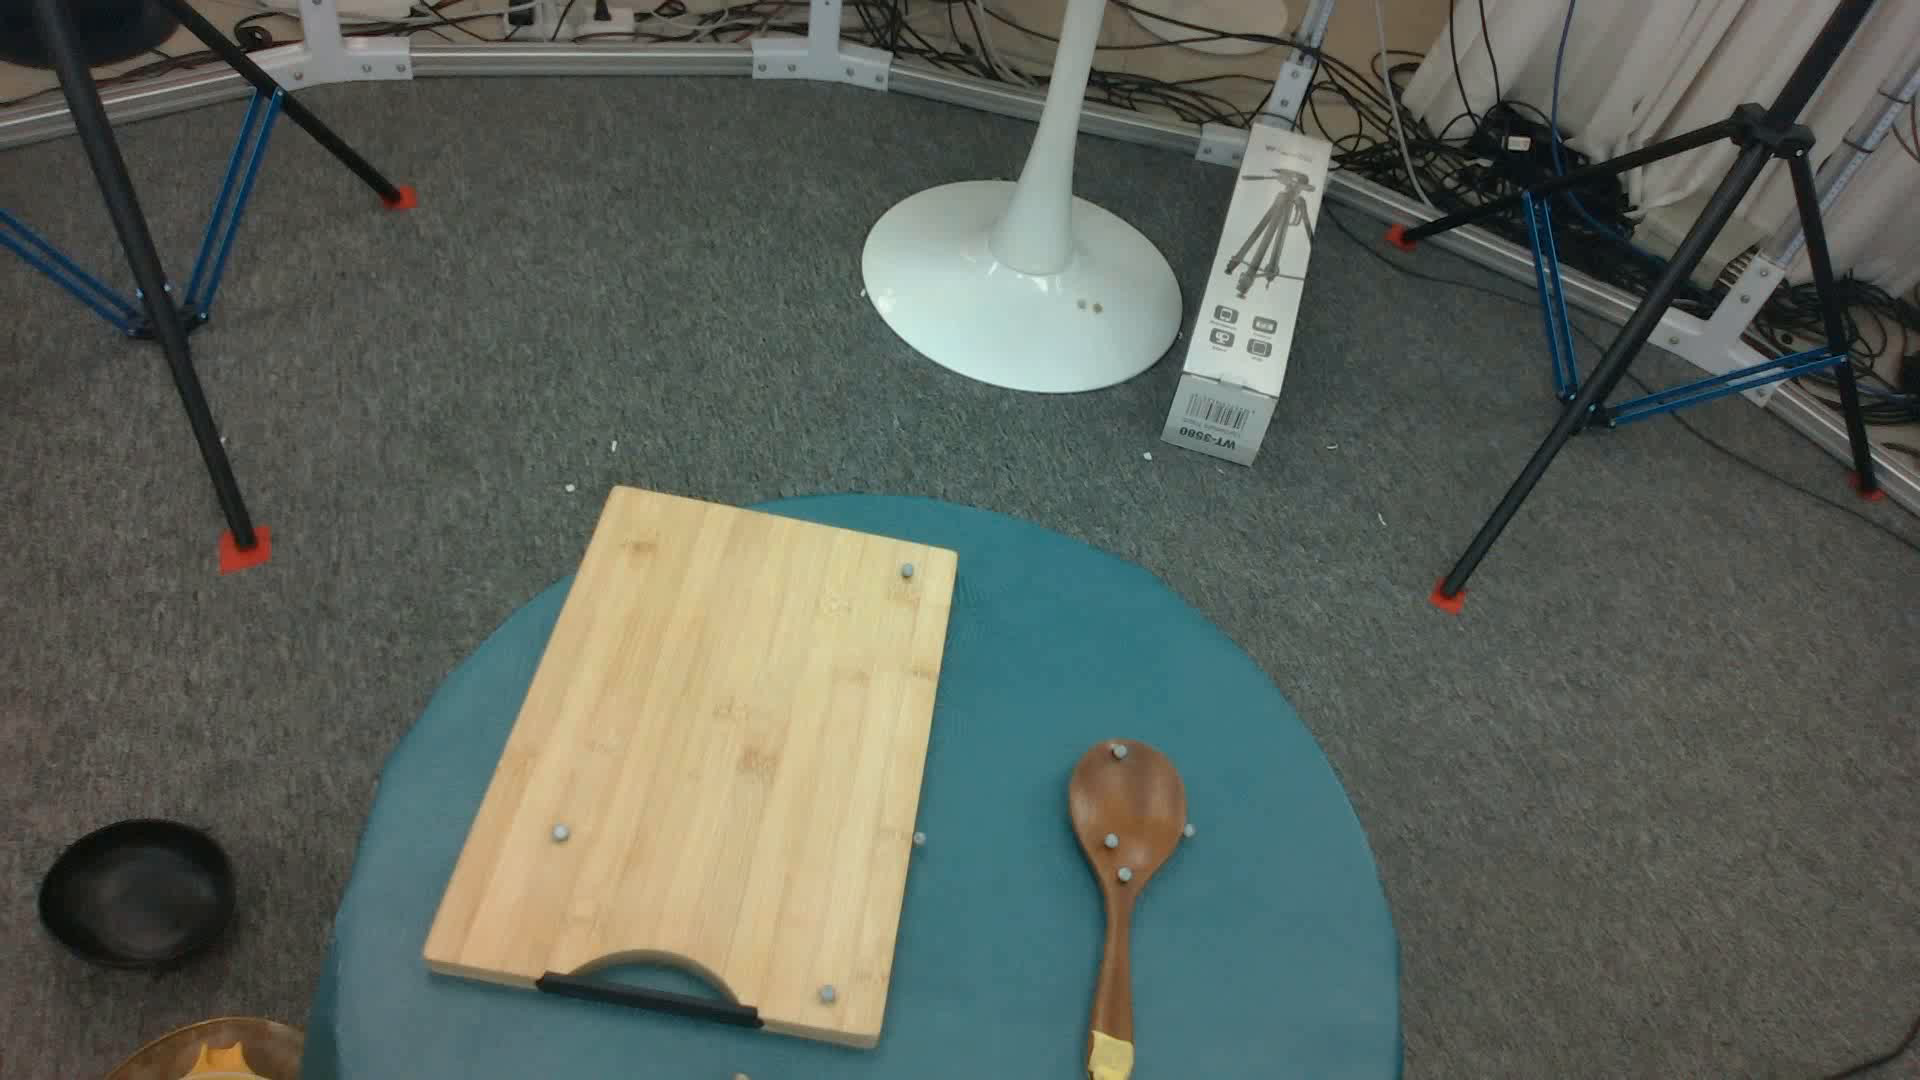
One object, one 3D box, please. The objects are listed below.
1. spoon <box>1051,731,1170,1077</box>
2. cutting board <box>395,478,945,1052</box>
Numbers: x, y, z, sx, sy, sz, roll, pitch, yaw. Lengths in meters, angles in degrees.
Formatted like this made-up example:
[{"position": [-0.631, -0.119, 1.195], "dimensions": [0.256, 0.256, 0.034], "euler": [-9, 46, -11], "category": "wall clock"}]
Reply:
[{"position": [0.084, 0.204, 0.802], "dimensions": [0.075, 0.017, 0.217], "euler": [13, 48, -3], "category": "spoon"}, {"position": [-0.150, 0.115, 0.827], "dimensions": [0.251, 0.023, 0.350], "euler": [10, 48, -3], "category": "cutting board"}]
